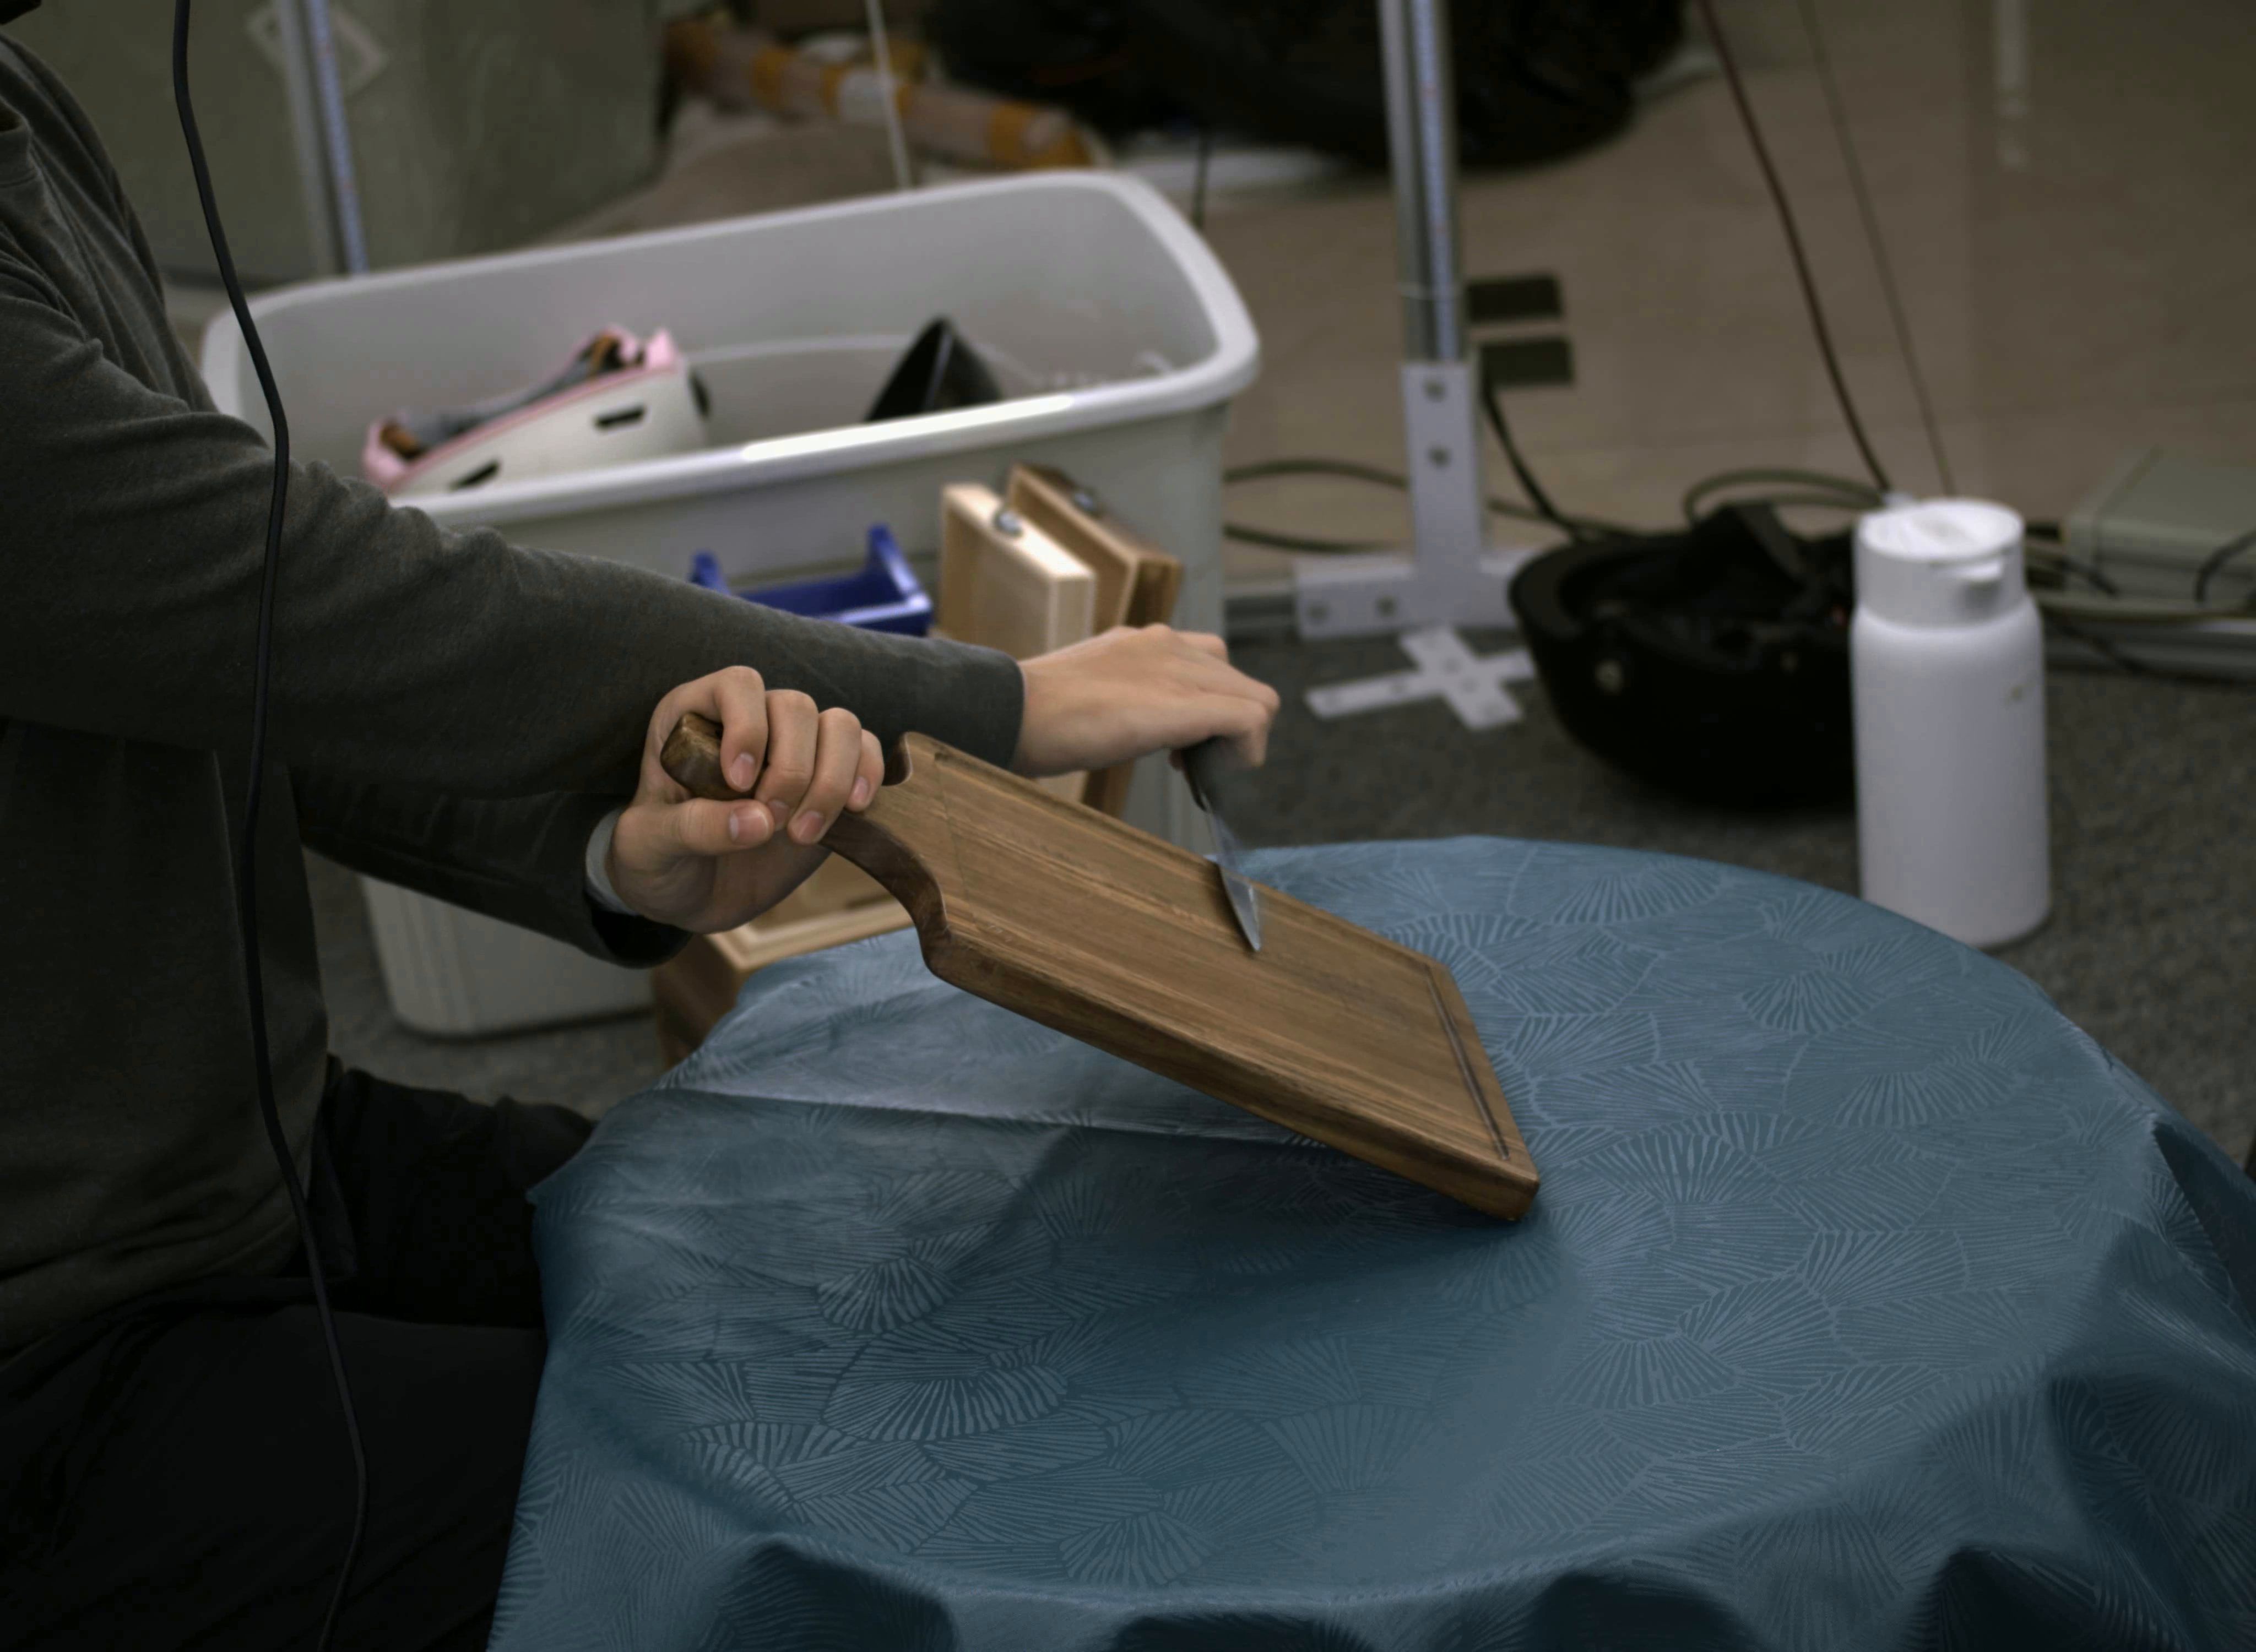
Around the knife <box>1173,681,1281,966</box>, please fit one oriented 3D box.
[{"bbox_3d":[0.040,-0.003,2.267,0.024,0.016,0.234,29,20,-20],"label":"knife"}]

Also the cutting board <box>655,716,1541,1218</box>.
[{"bbox_3d":[-0.016,0.035,2.125,0.353,0.023,0.198,23,19,-18],"label":"cutting board"}]
